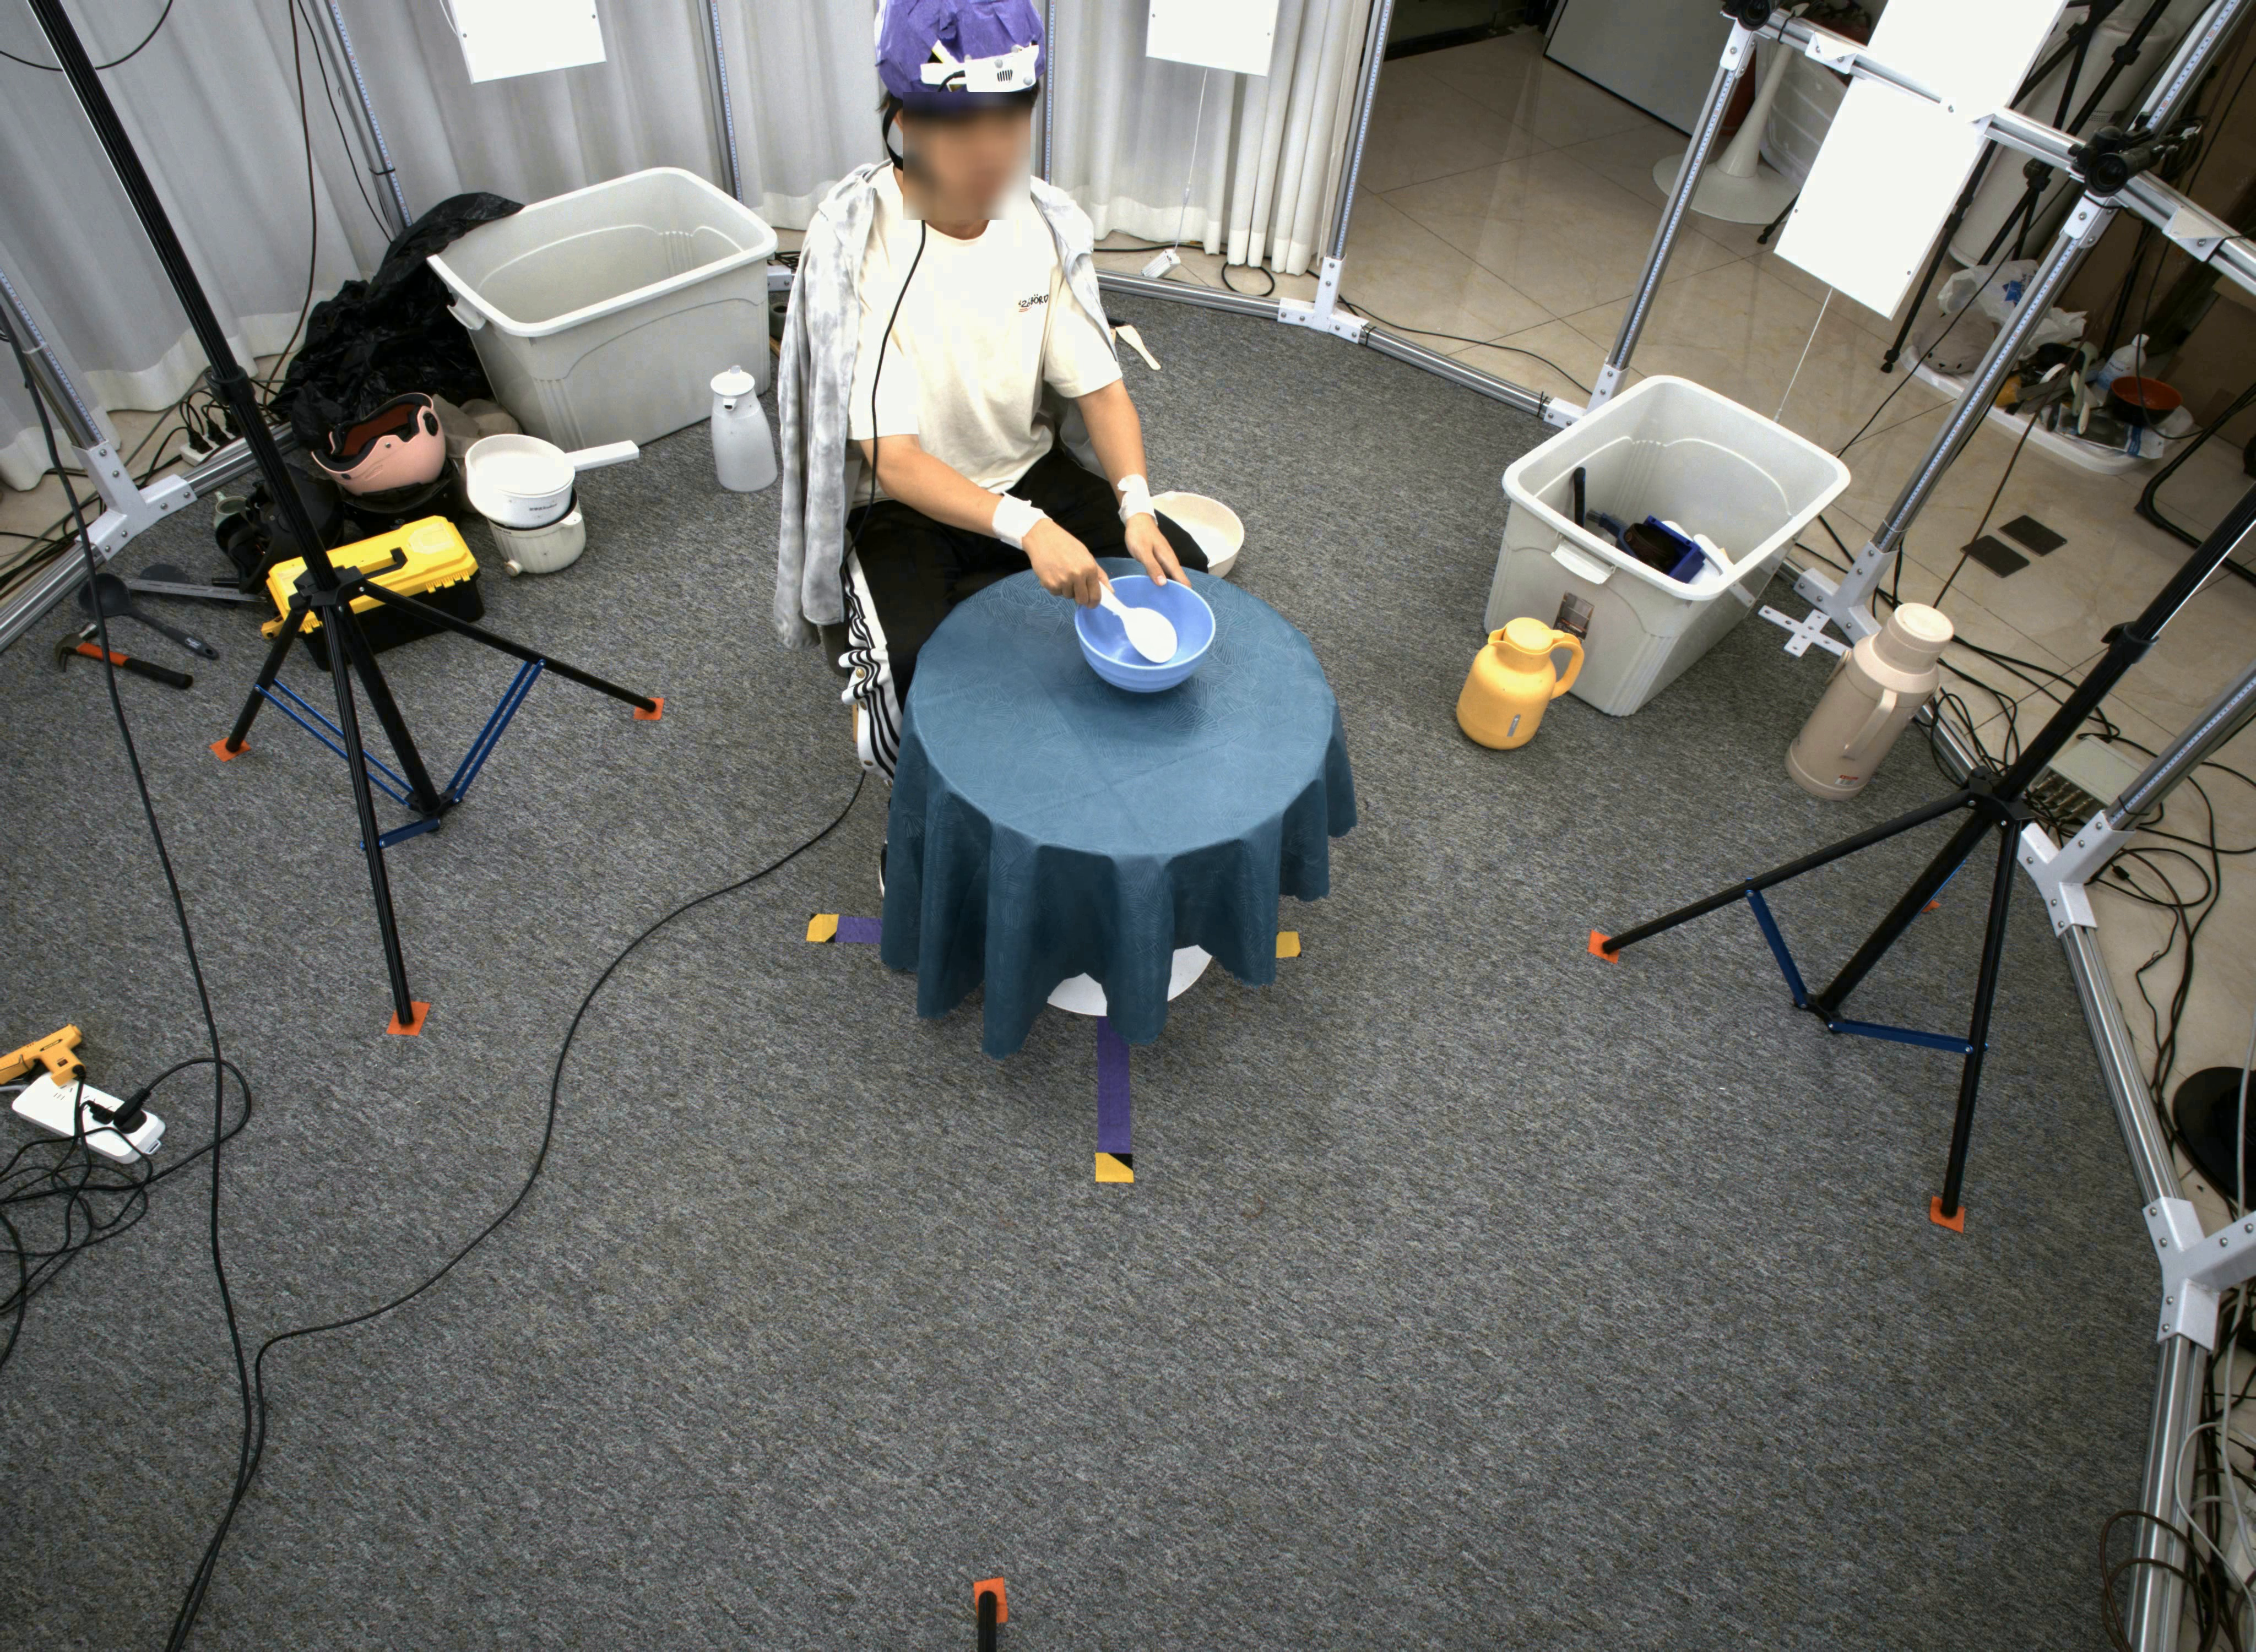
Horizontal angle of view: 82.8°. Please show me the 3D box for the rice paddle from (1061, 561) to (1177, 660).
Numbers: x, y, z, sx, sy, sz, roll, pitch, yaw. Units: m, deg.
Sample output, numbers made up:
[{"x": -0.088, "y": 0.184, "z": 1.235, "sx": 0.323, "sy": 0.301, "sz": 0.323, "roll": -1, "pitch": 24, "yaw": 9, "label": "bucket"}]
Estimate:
[{"x": -0.006, "y": -0.305, "z": 1.822, "sx": 0.202, "sy": 0.029, "sz": 0.069, "roll": 33, "pitch": 71, "yaw": -25, "label": "rice paddle"}]

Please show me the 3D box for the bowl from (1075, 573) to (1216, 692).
[{"x": 0.022, "y": -0.260, "z": 1.825, "sx": 0.196, "sy": 0.093, "sz": 0.201, "roll": 2, "pitch": 51, "yaw": -3, "label": "bowl"}]
